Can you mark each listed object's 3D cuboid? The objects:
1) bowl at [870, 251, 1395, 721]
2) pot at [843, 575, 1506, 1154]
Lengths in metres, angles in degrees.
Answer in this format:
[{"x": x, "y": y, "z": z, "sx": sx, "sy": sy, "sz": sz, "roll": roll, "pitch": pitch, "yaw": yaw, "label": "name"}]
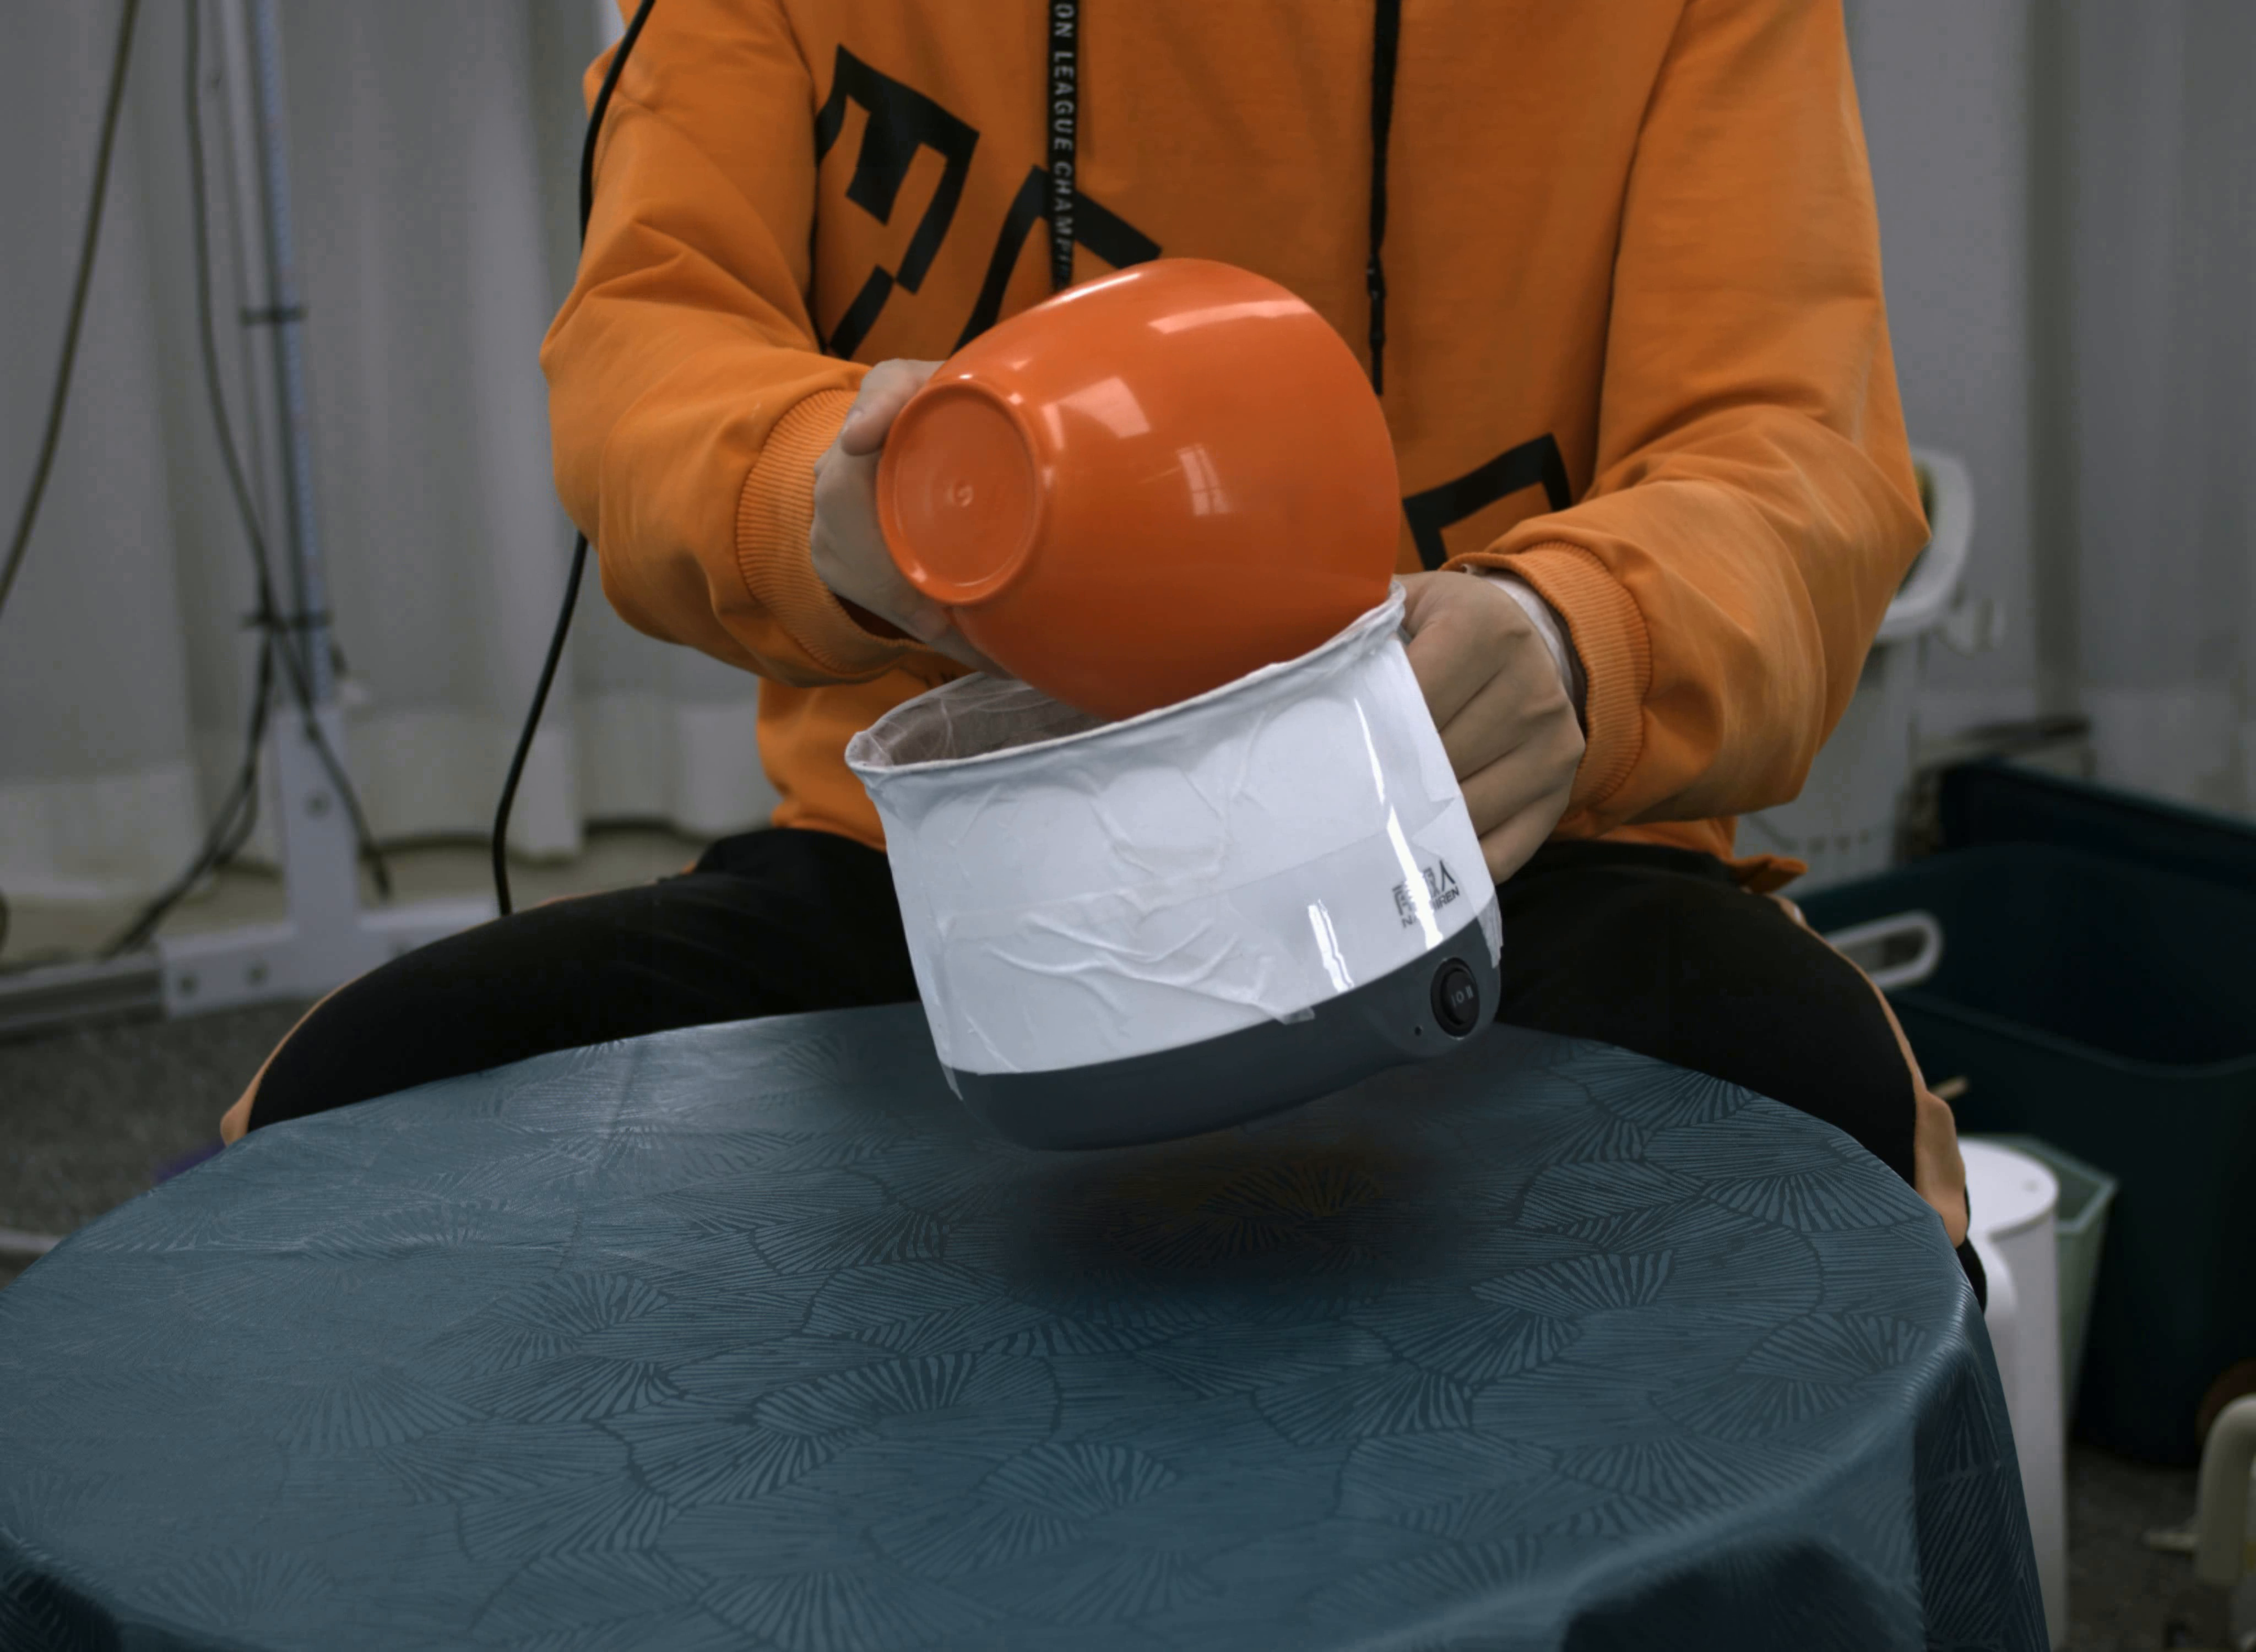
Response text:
[{"x": -0.010, "y": -0.098, "z": 1.632, "sx": 0.149, "sy": 0.148, "sz": 0.104, "roll": 10, "pitch": 9, "yaw": 39, "label": "bowl"}, {"x": 0.032, "y": 0.003, "z": 1.677, "sx": 0.179, "sy": 0.136, "sz": 0.234, "roll": -8, "pitch": 14, "yaw": 38, "label": "pot"}]
